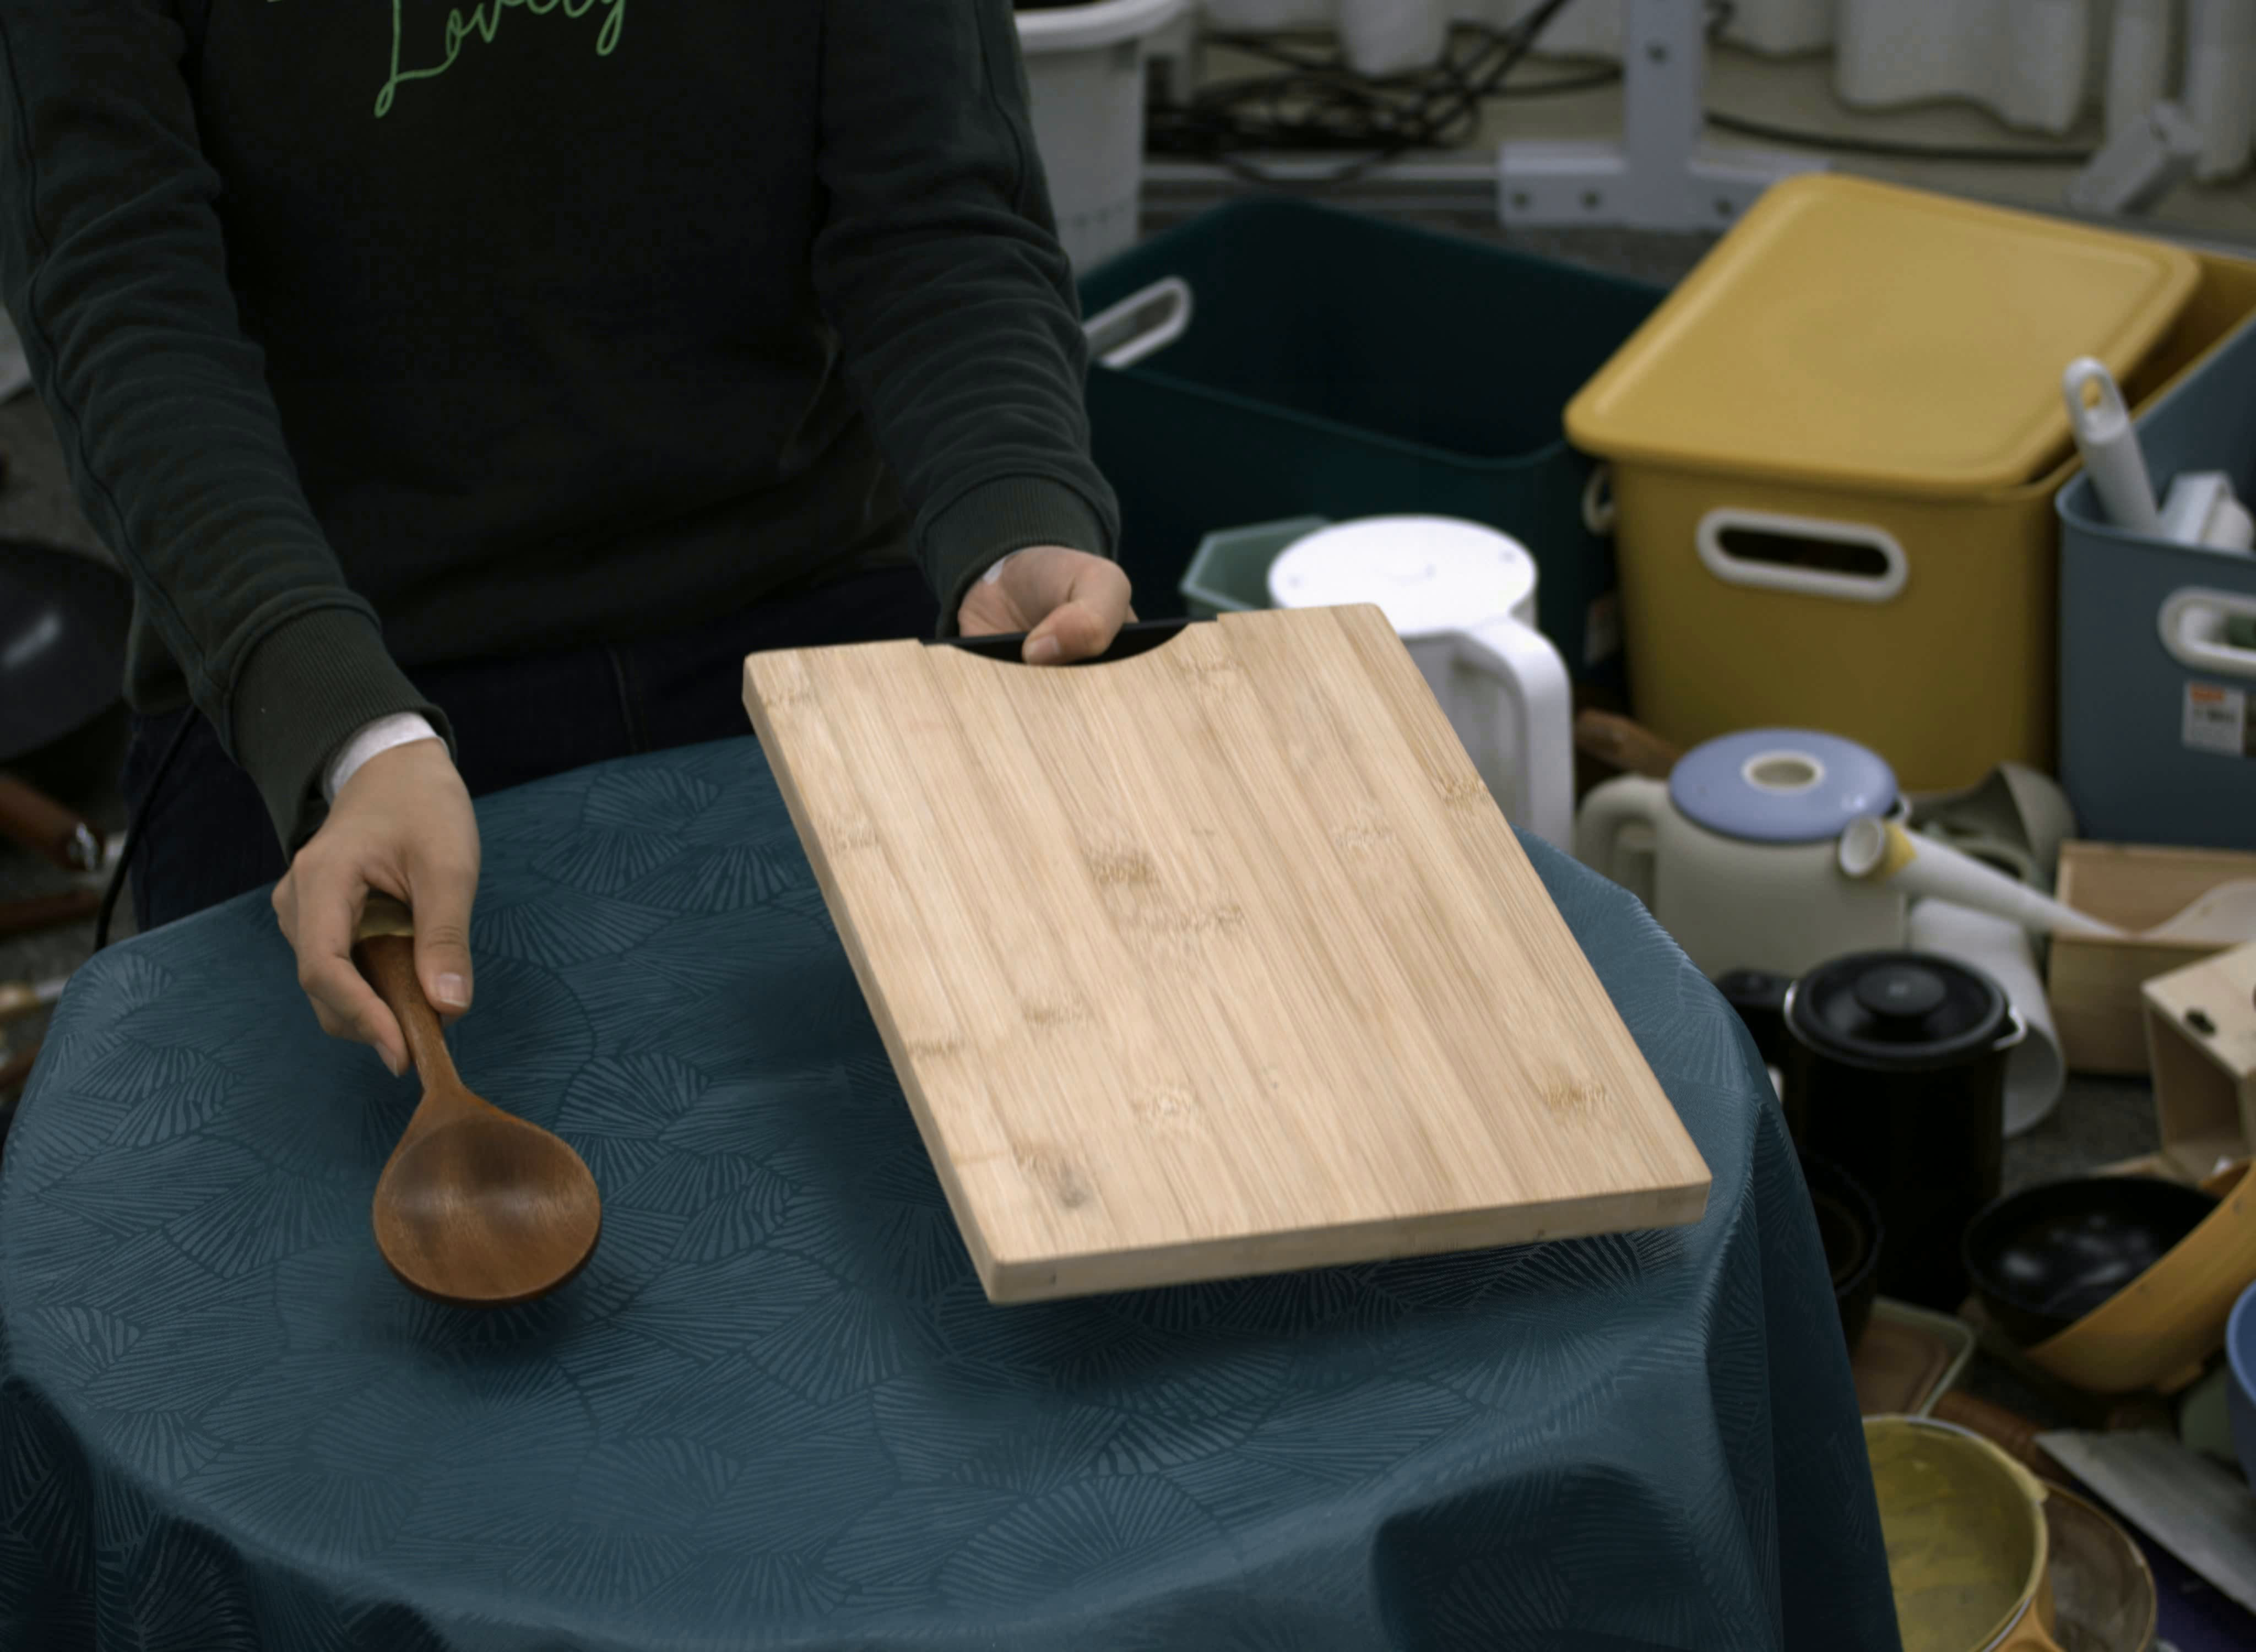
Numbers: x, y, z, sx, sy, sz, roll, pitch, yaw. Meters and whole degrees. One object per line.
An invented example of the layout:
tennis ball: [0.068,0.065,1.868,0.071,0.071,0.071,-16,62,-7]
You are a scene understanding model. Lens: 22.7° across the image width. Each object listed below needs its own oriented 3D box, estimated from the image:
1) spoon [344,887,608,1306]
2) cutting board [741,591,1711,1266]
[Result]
spoon: [-0.225,0.089,1.855,0.075,0.017,0.219,-15,40,-12]
cutting board: [0.024,0.027,1.895,0.251,0.023,0.353,-4,35,-18]
